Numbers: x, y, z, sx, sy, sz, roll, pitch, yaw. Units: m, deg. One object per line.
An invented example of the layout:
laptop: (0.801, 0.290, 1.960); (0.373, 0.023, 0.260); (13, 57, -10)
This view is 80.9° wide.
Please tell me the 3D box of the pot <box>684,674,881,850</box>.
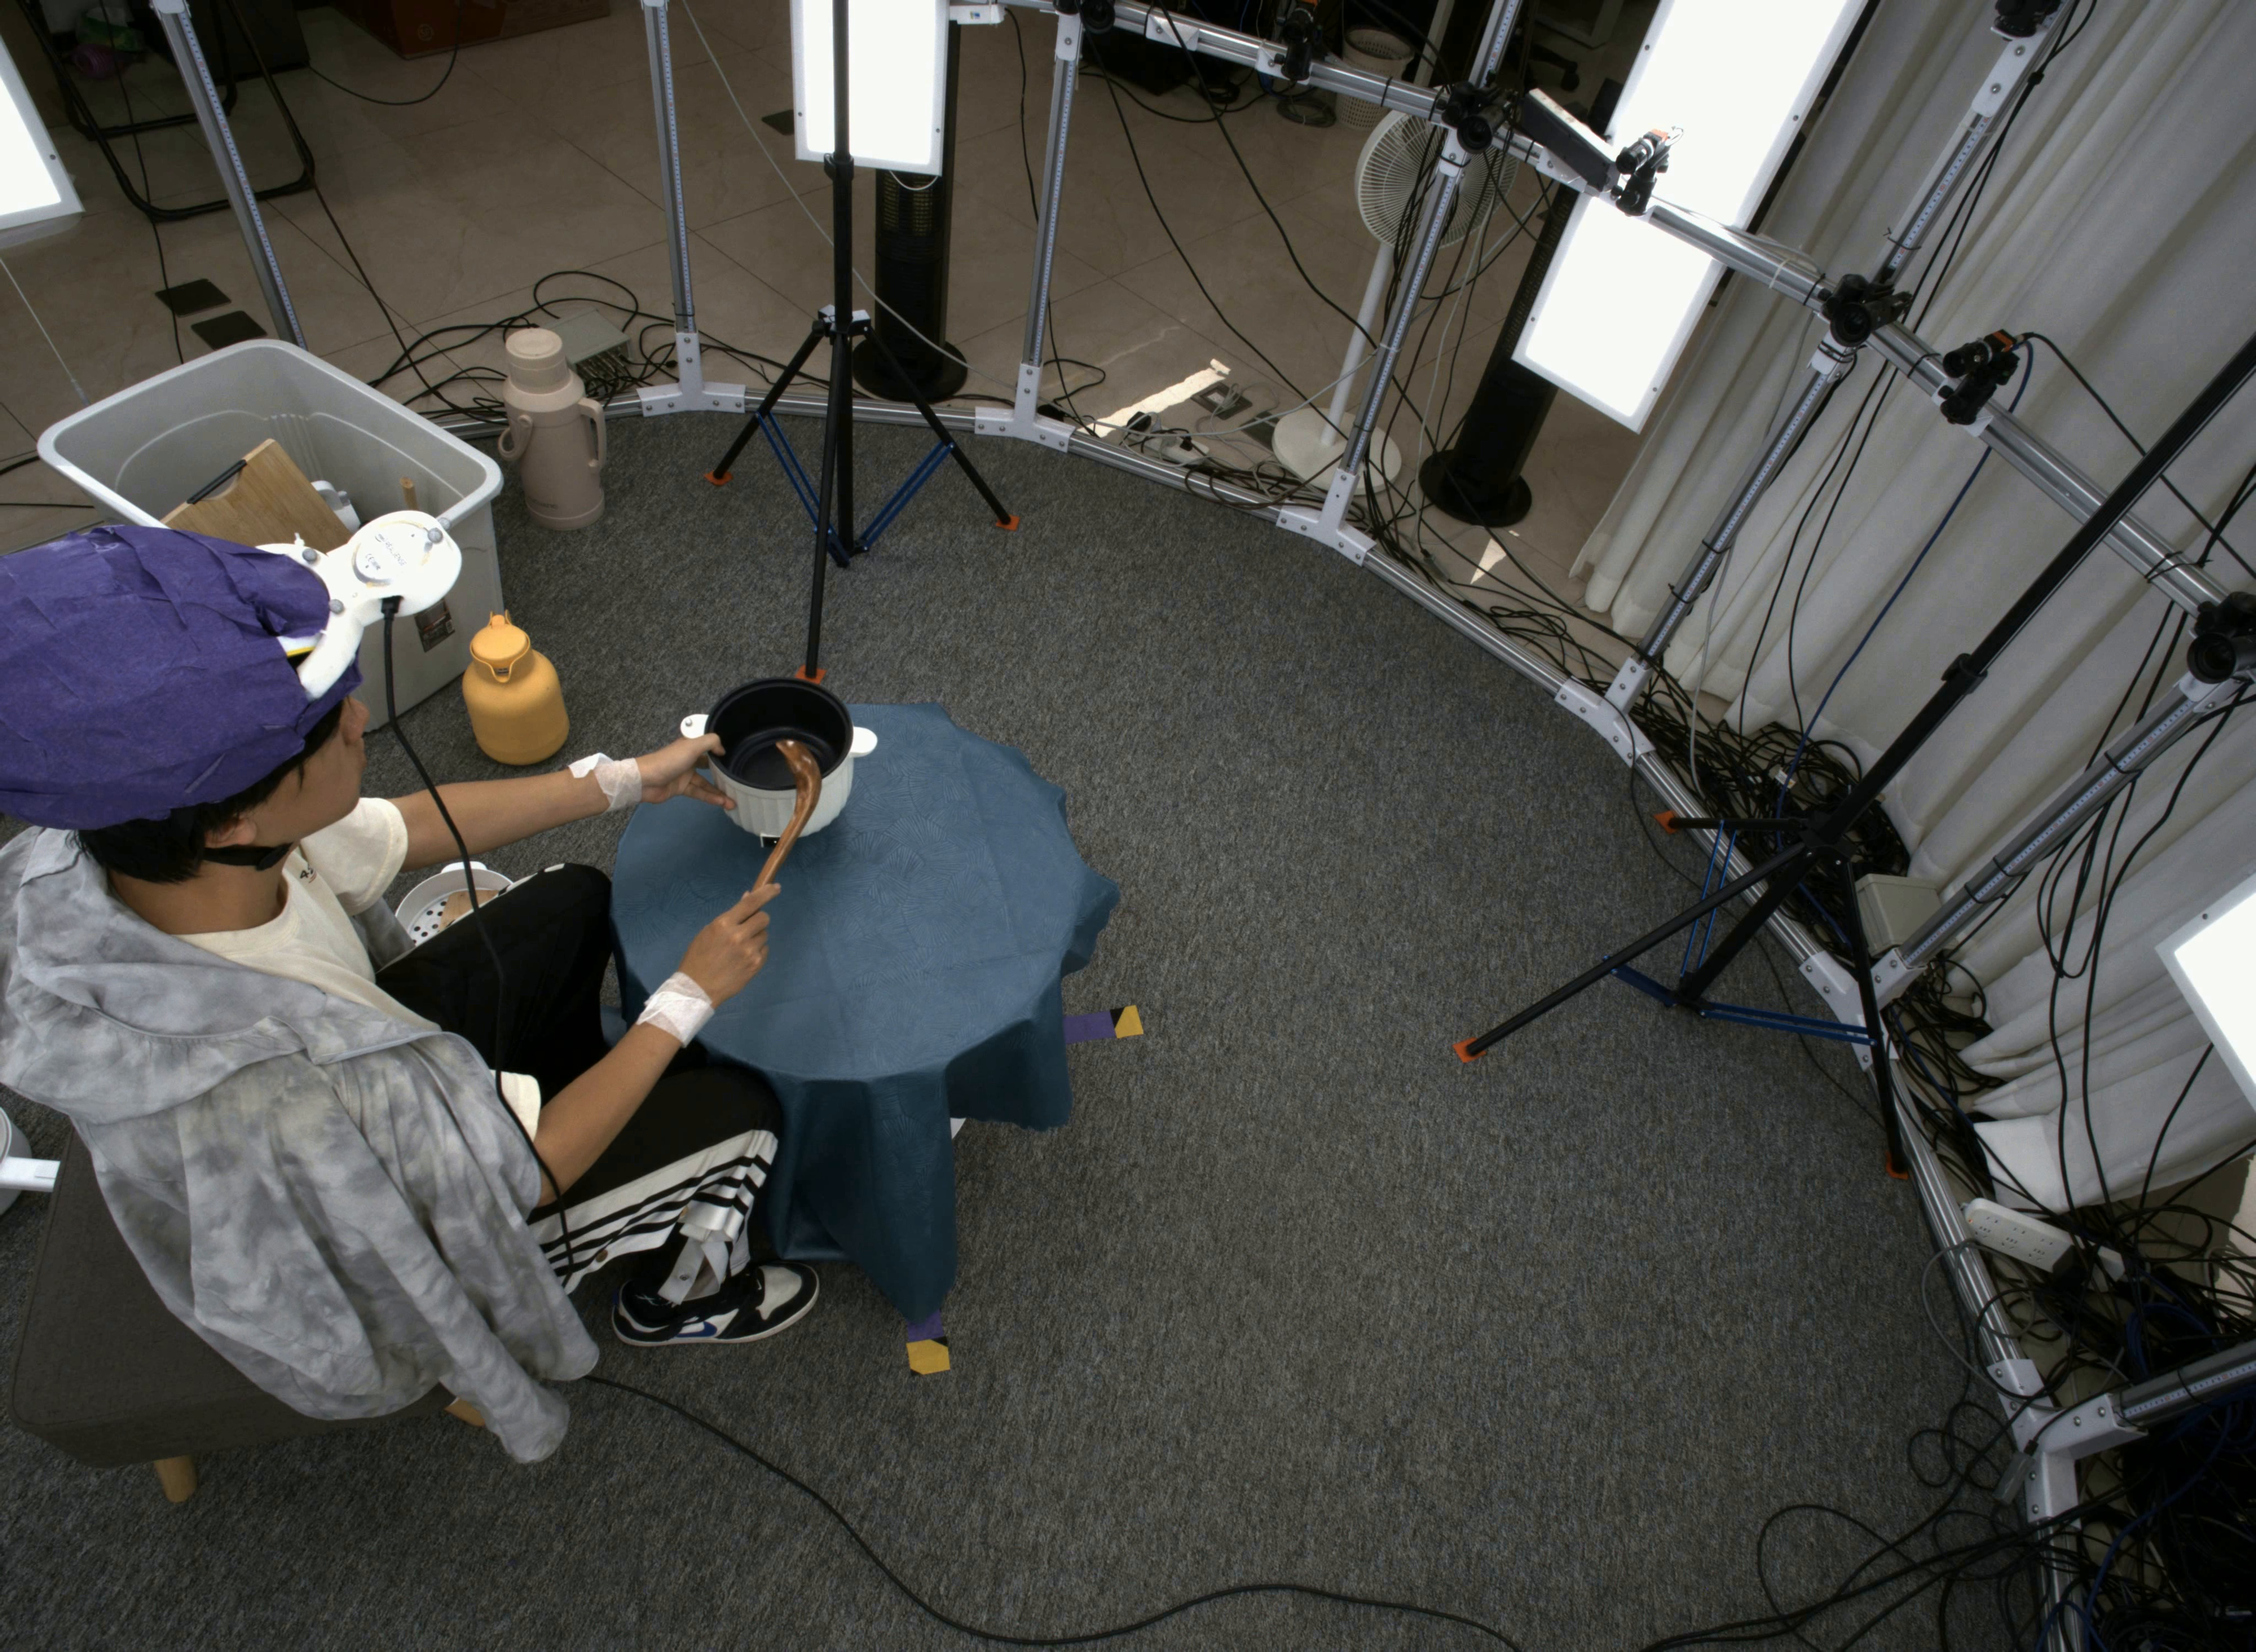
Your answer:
pot: (-0.436, -0.085, 1.651); (0.240, 0.145, 0.187); (5, 58, -10)

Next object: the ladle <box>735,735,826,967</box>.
ladle: (-0.416, 0.021, 1.479); (0.075, 0.084, 0.273); (14, 68, 14)
